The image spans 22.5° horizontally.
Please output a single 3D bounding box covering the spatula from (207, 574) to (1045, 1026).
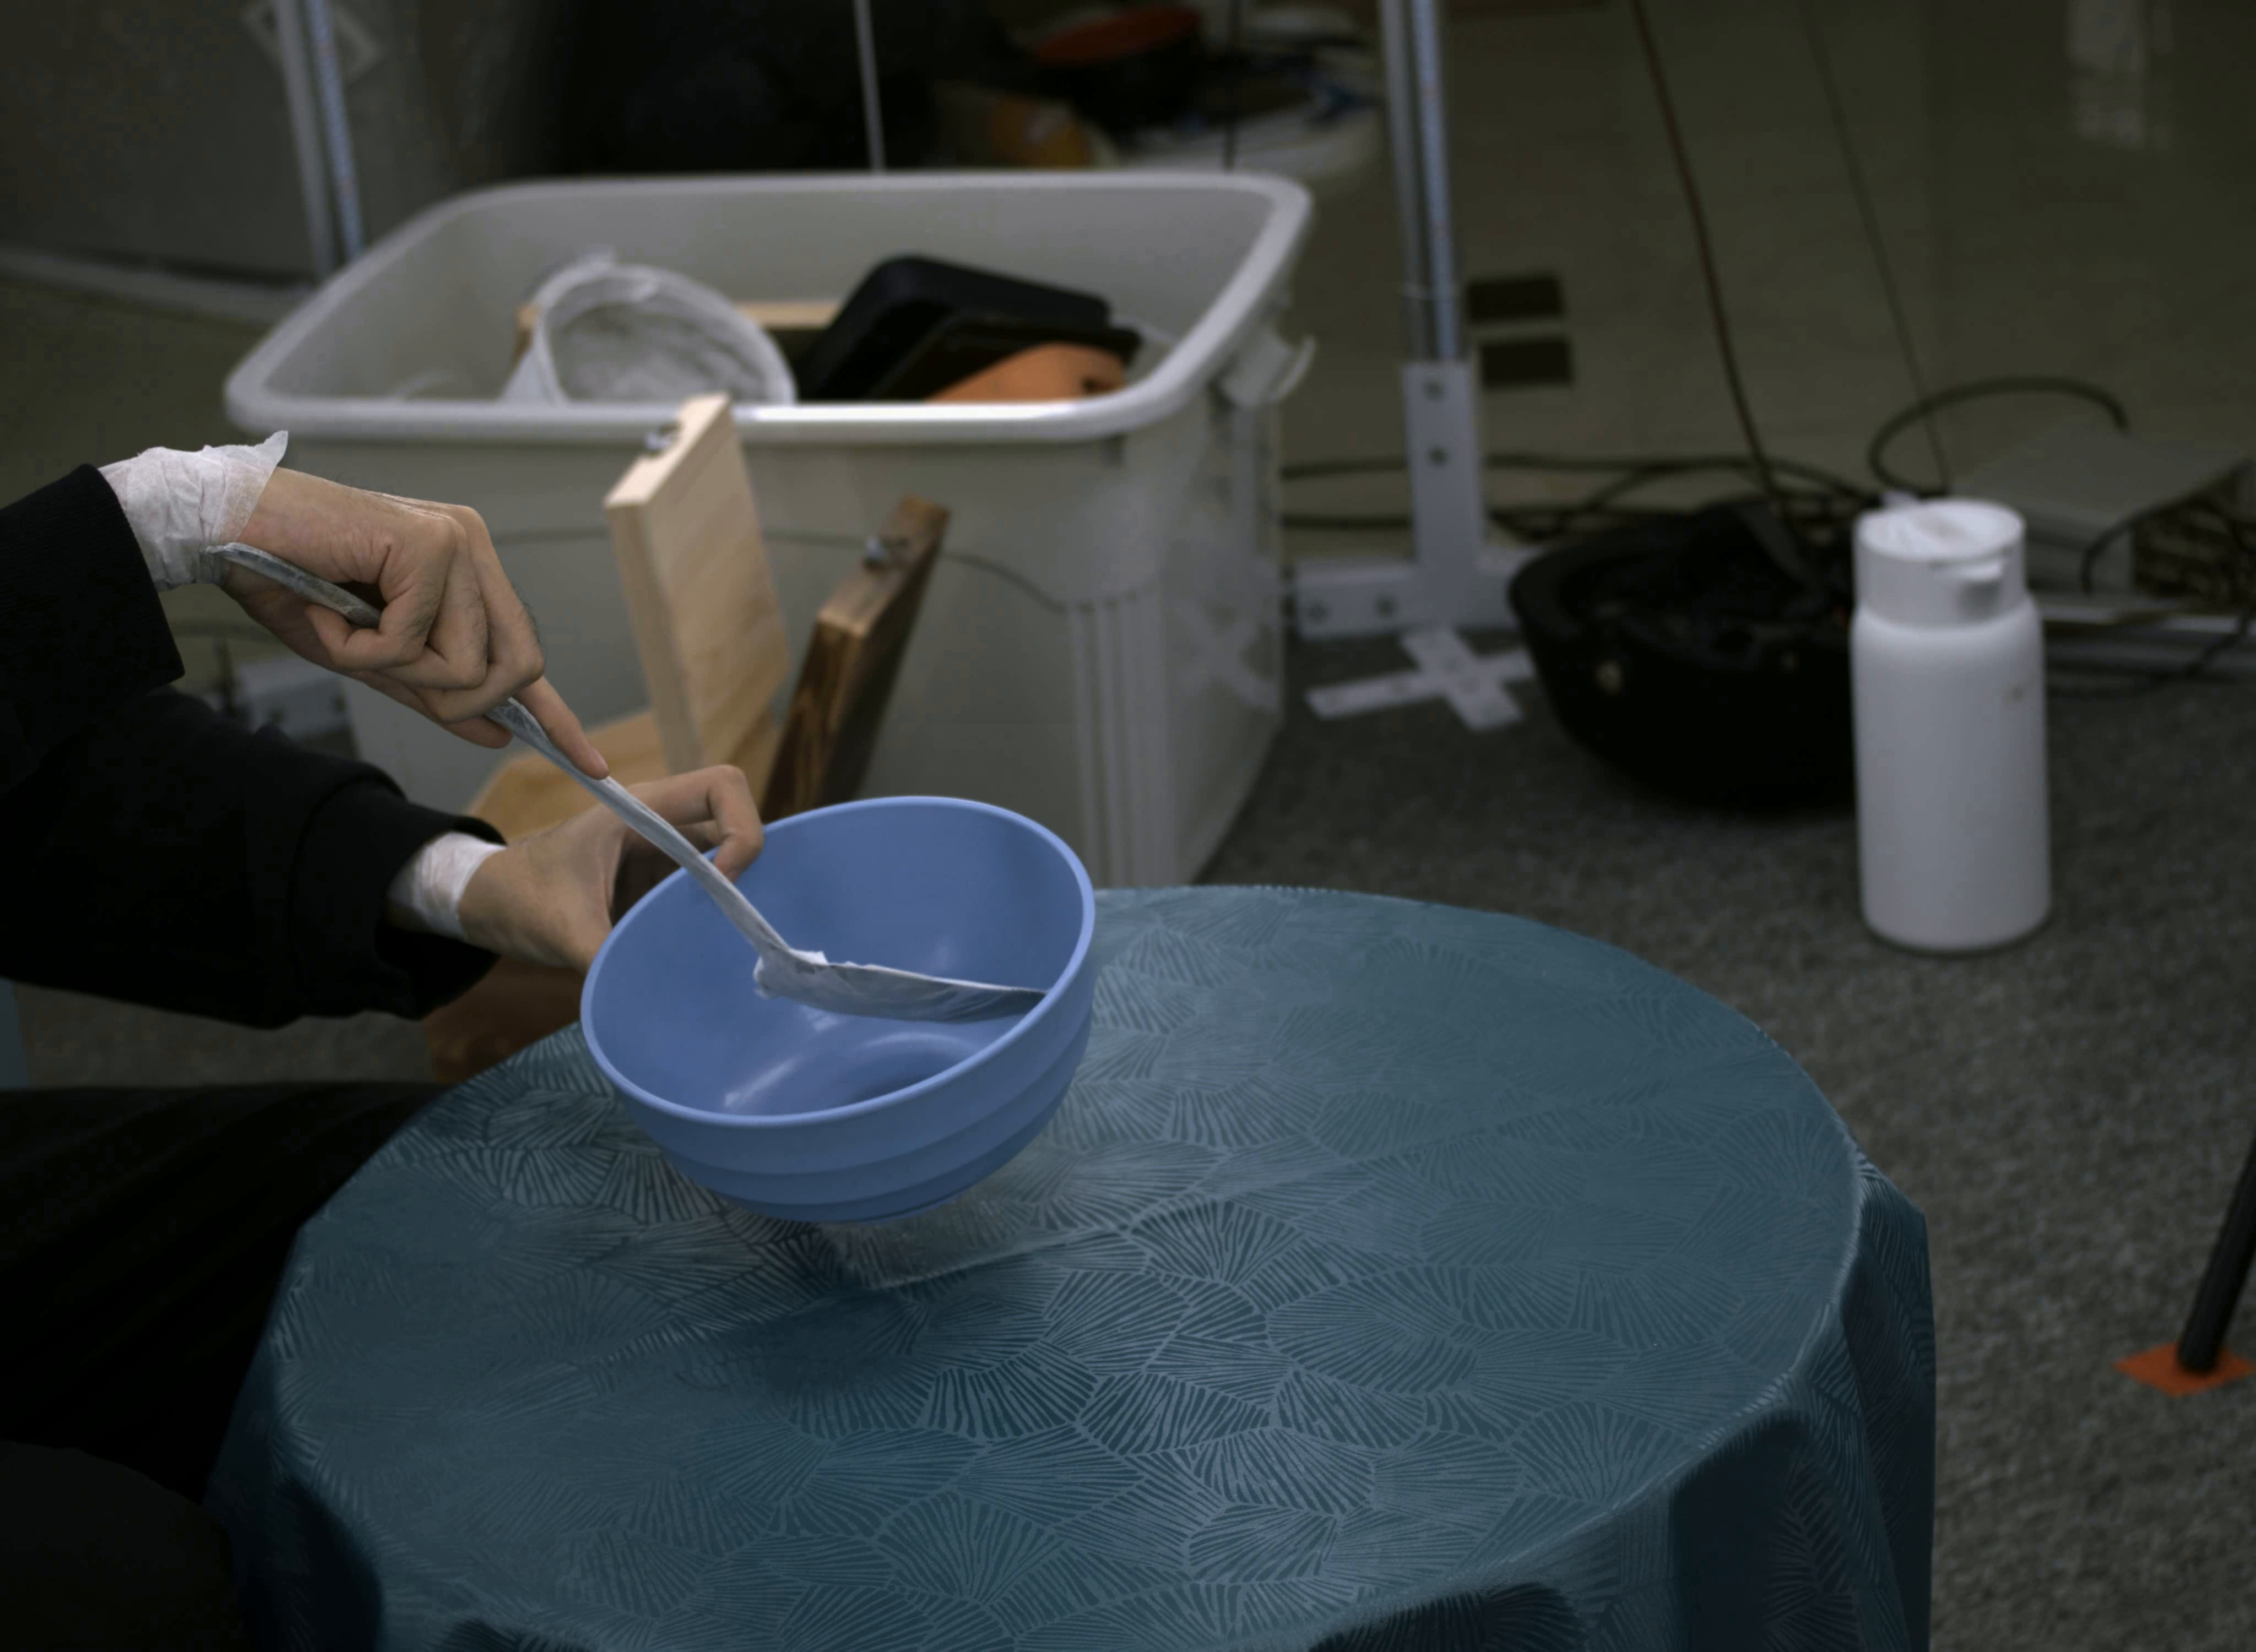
[{"bbox_3d":[-0.178,-0.008,2.032,0.098,0.369,0.044,-4,55,51],"label":"spatula"}]

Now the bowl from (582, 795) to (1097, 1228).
[{"bbox_3d":[-0.098,0.085,2.122,0.196,0.097,0.193,-10,36,8],"label":"bowl"}]
